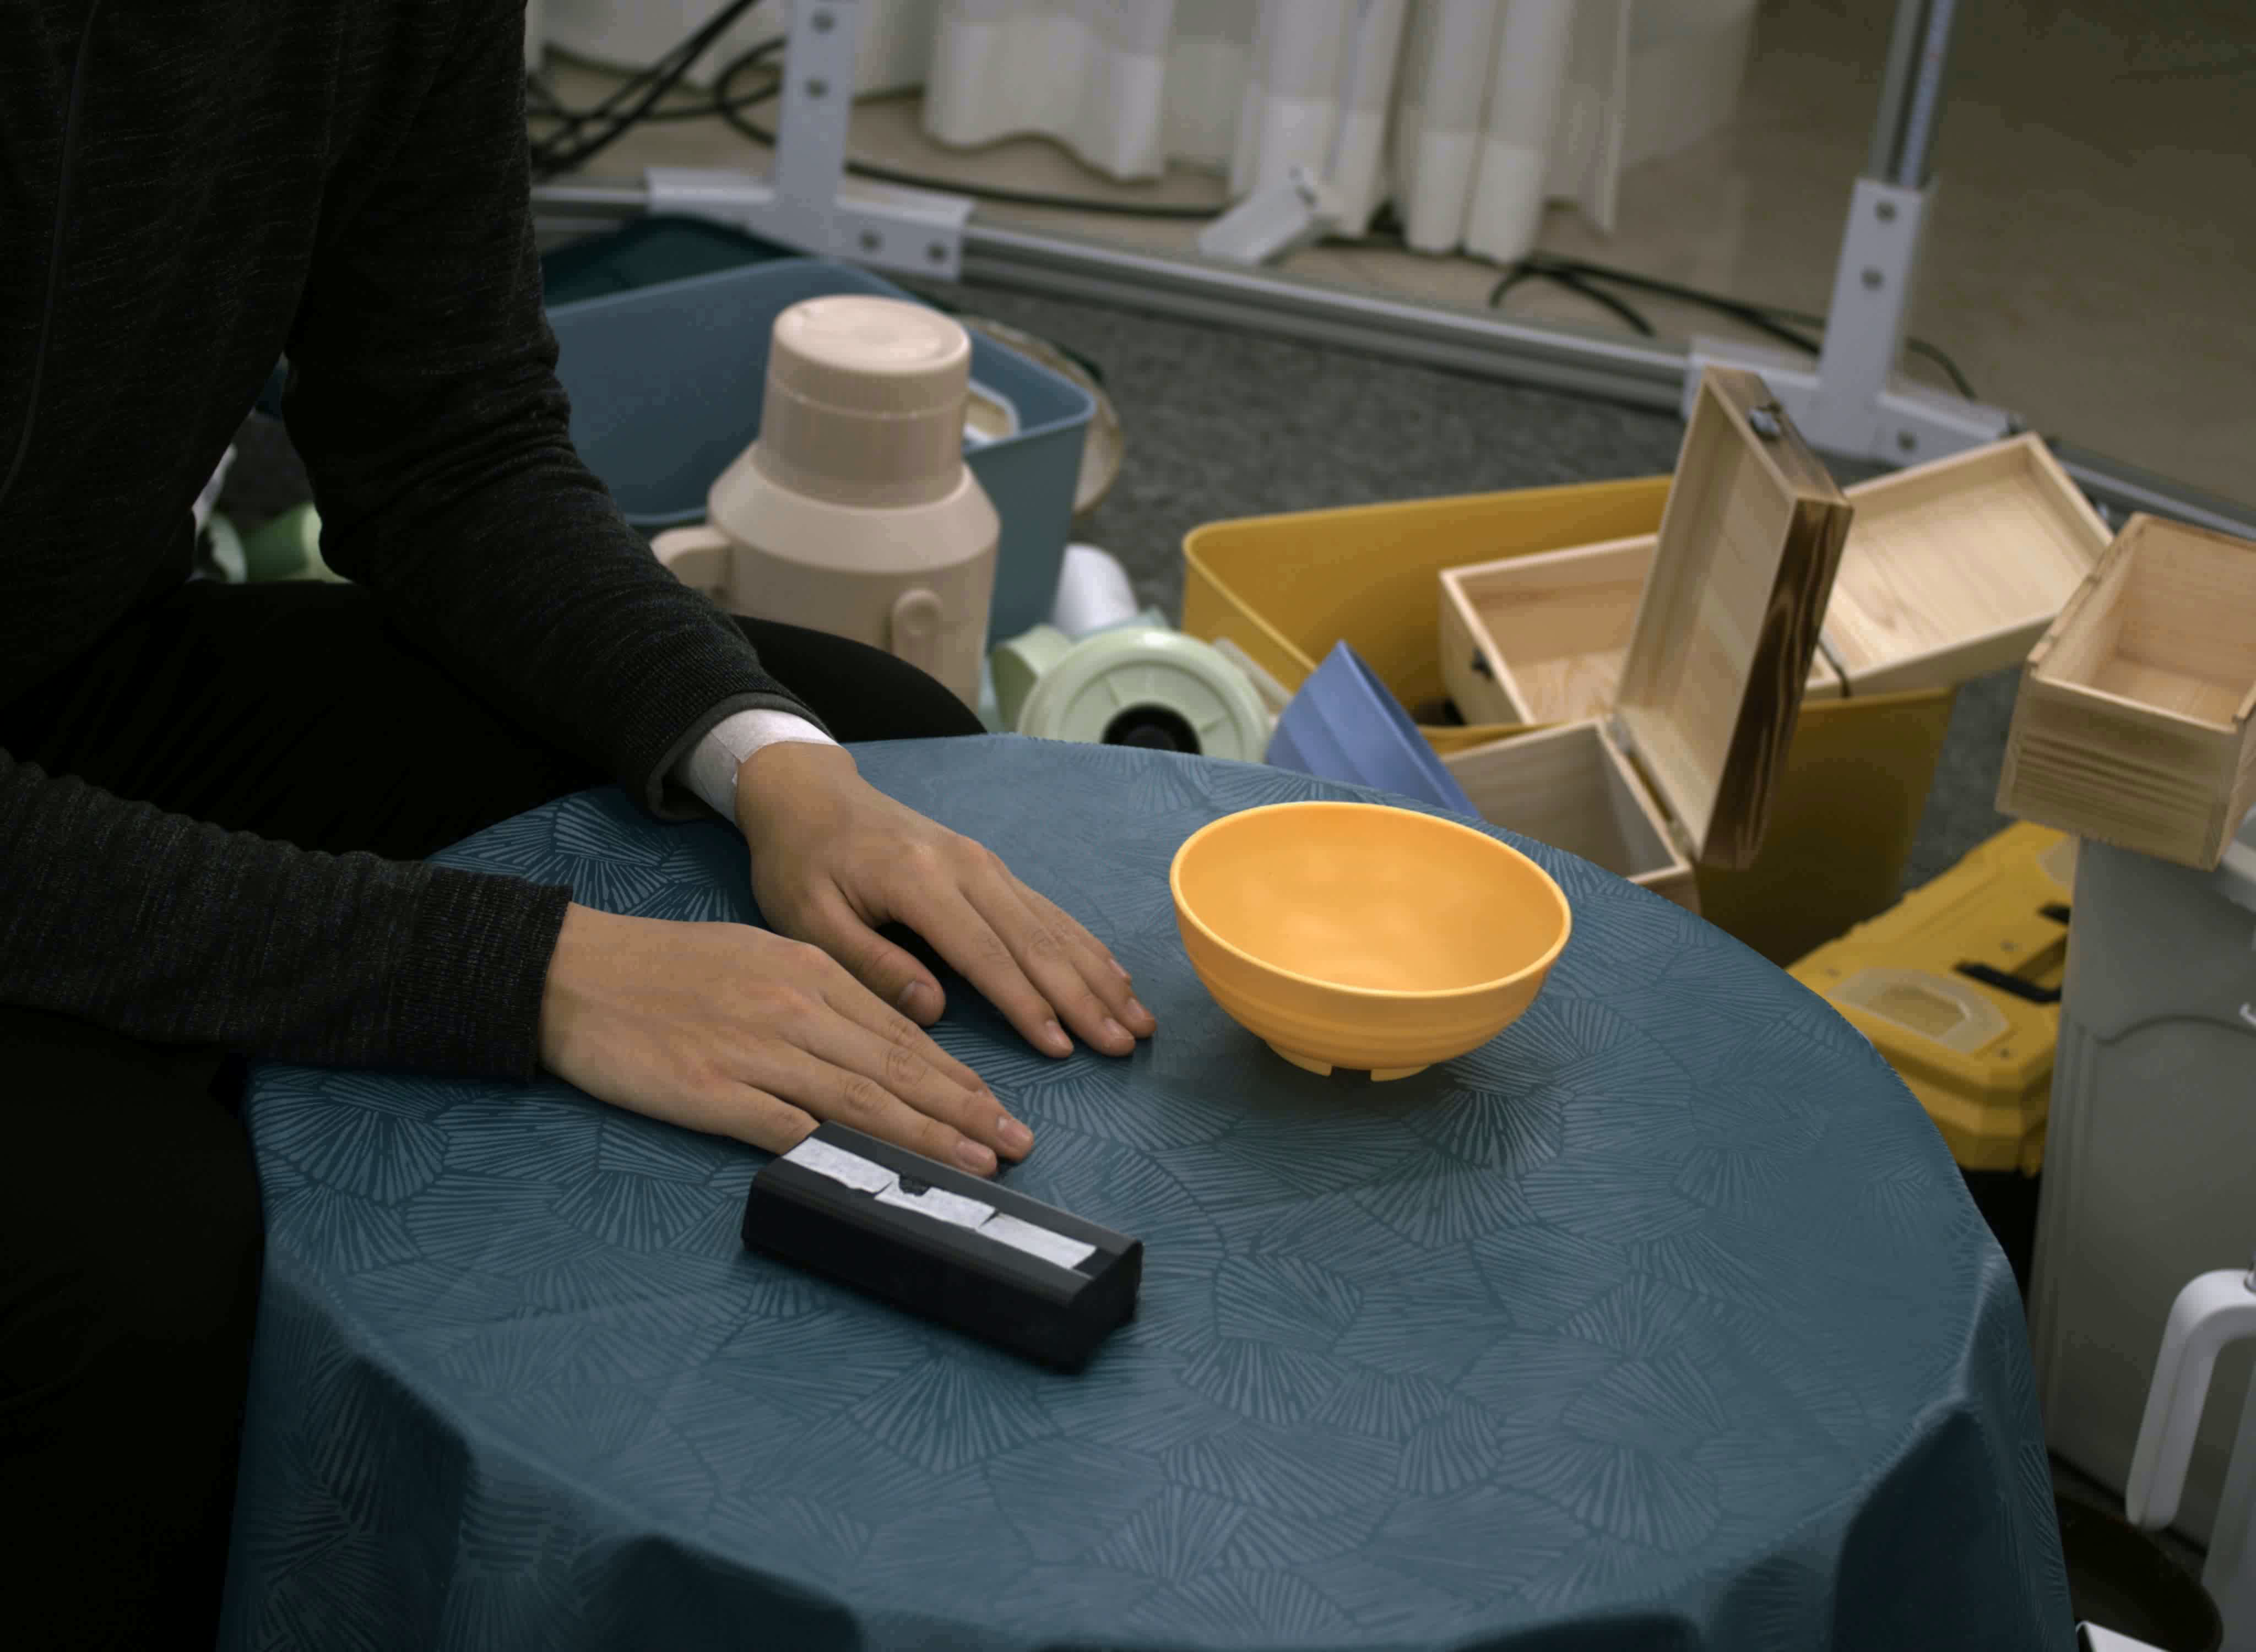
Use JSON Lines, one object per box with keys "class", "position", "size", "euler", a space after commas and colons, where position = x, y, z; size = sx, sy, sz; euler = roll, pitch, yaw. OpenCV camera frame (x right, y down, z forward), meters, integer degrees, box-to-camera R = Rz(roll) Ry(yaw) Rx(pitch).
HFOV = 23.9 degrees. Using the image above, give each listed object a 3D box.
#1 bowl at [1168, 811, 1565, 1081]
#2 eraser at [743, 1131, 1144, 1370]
{"class": "bowl", "position": [0.082, 0.050, 1.899], "size": [0.145, 0.060, 0.146], "euler": [5, 24, -3]}
{"class": "eraser", "position": [-0.060, 0.137, 1.730], "size": [0.126, 0.030, 0.053], "euler": [18, 26, 23]}
